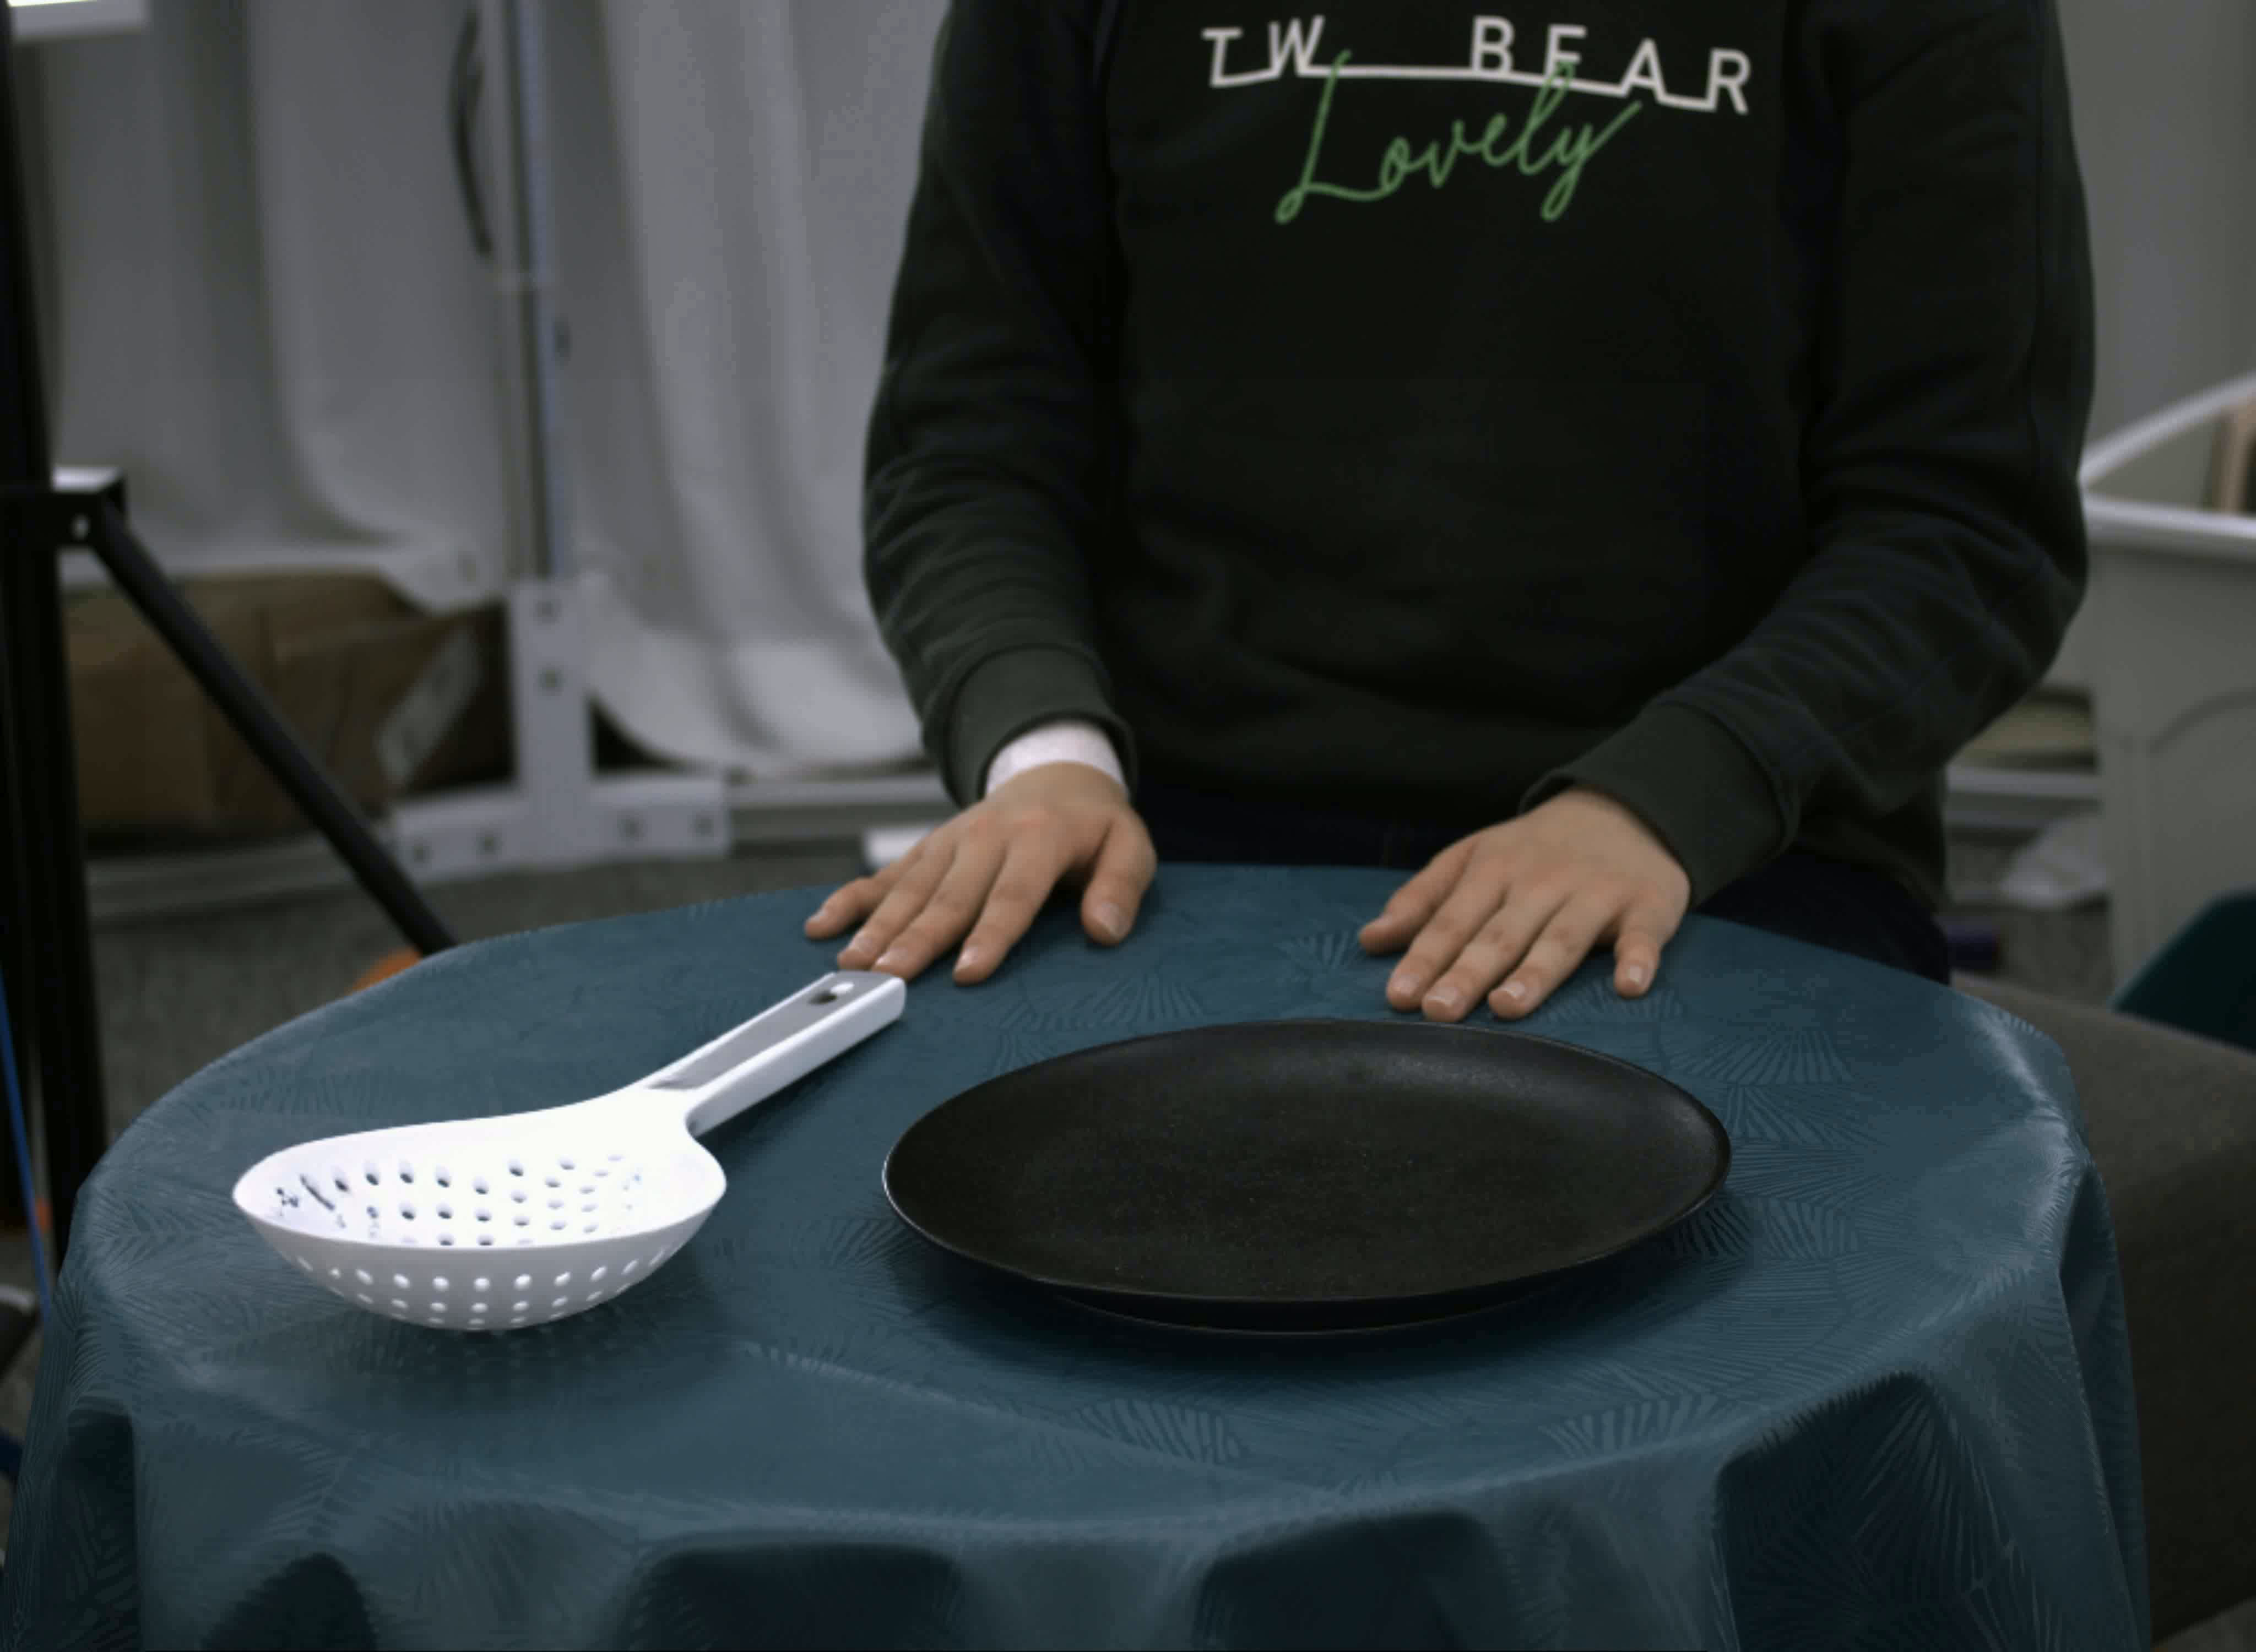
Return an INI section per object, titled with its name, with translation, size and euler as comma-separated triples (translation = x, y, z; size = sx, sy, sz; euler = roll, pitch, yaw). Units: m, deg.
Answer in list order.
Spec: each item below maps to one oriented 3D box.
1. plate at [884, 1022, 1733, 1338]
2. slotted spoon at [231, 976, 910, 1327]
[plate]
translation = 0.052, 0.104, 1.522
size = 0.243, 0.023, 0.245
euler = -3, 16, -1
[slotted spoon]
translation = -0.143, 0.086, 1.575
size = 0.137, 0.046, 0.345
euler = 5, 17, 20
